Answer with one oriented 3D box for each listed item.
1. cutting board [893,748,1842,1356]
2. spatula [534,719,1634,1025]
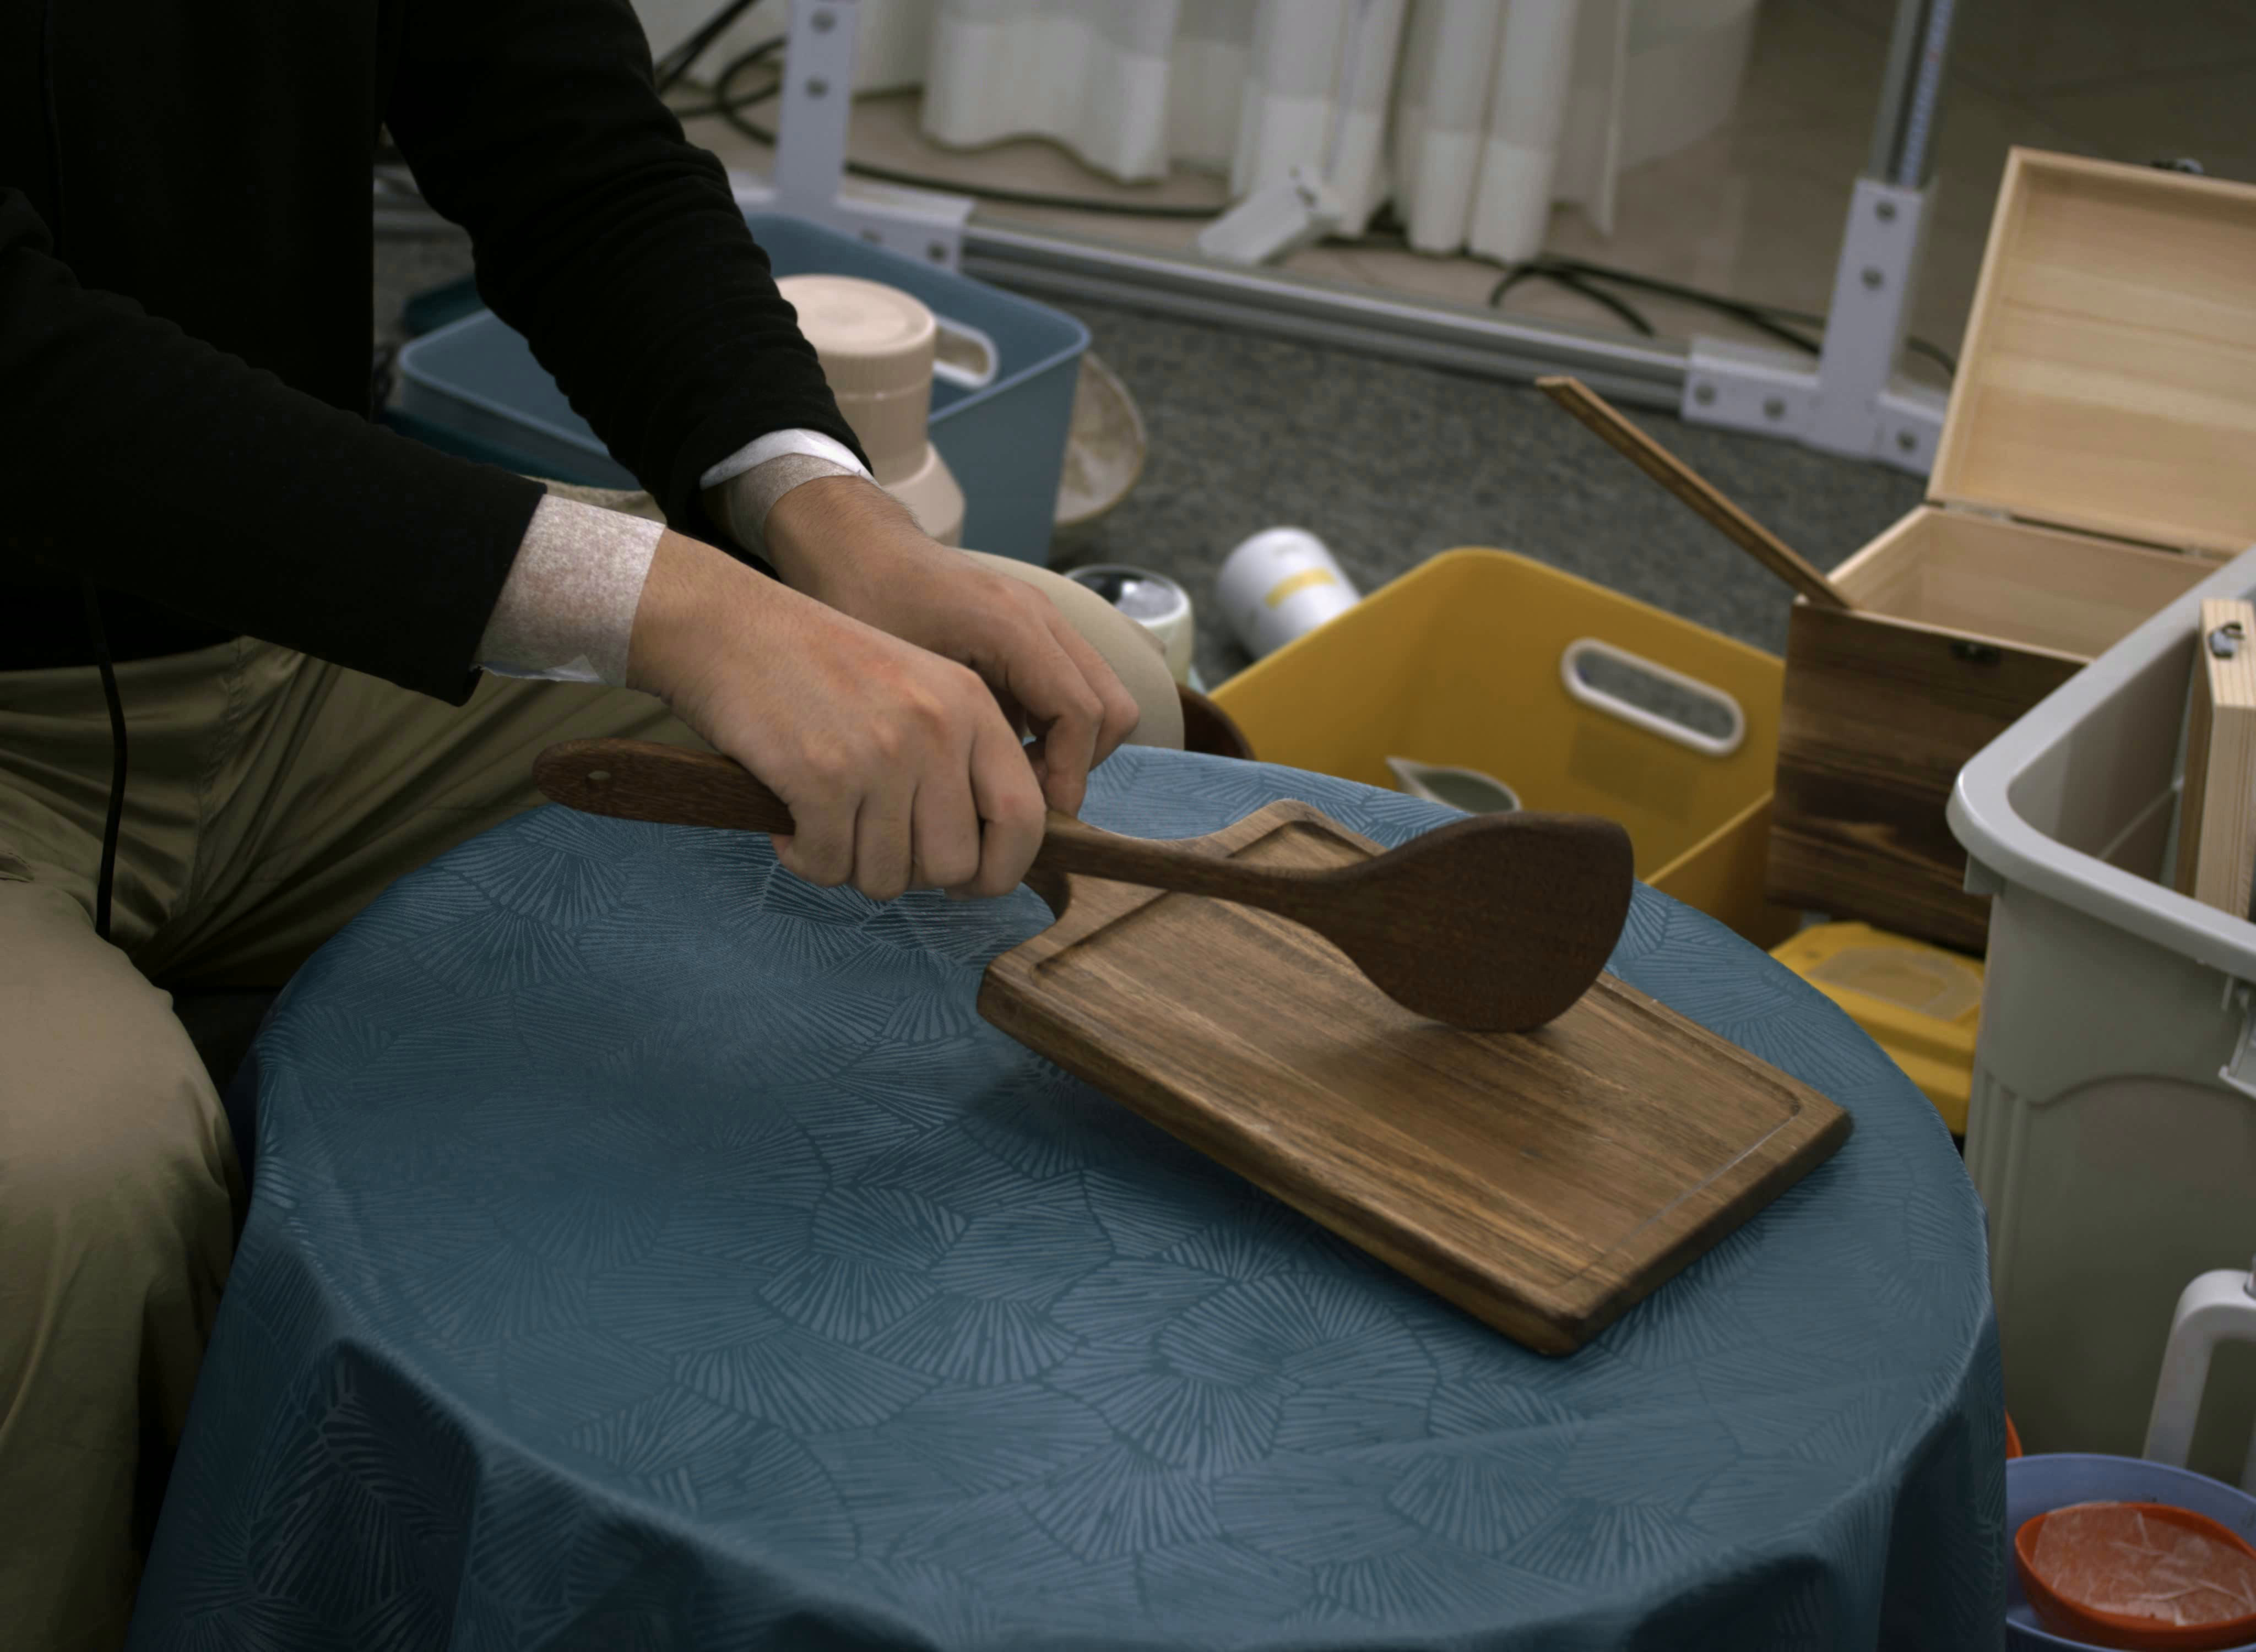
[{"bbox_3d":[0.060,0.059,1.873,0.354,0.023,0.200,29,34,25],"label":"cutting board"},{"bbox_3d":[-0.012,0.006,1.811,0.384,0.096,0.016,10,33,-13],"label":"spatula"}]
